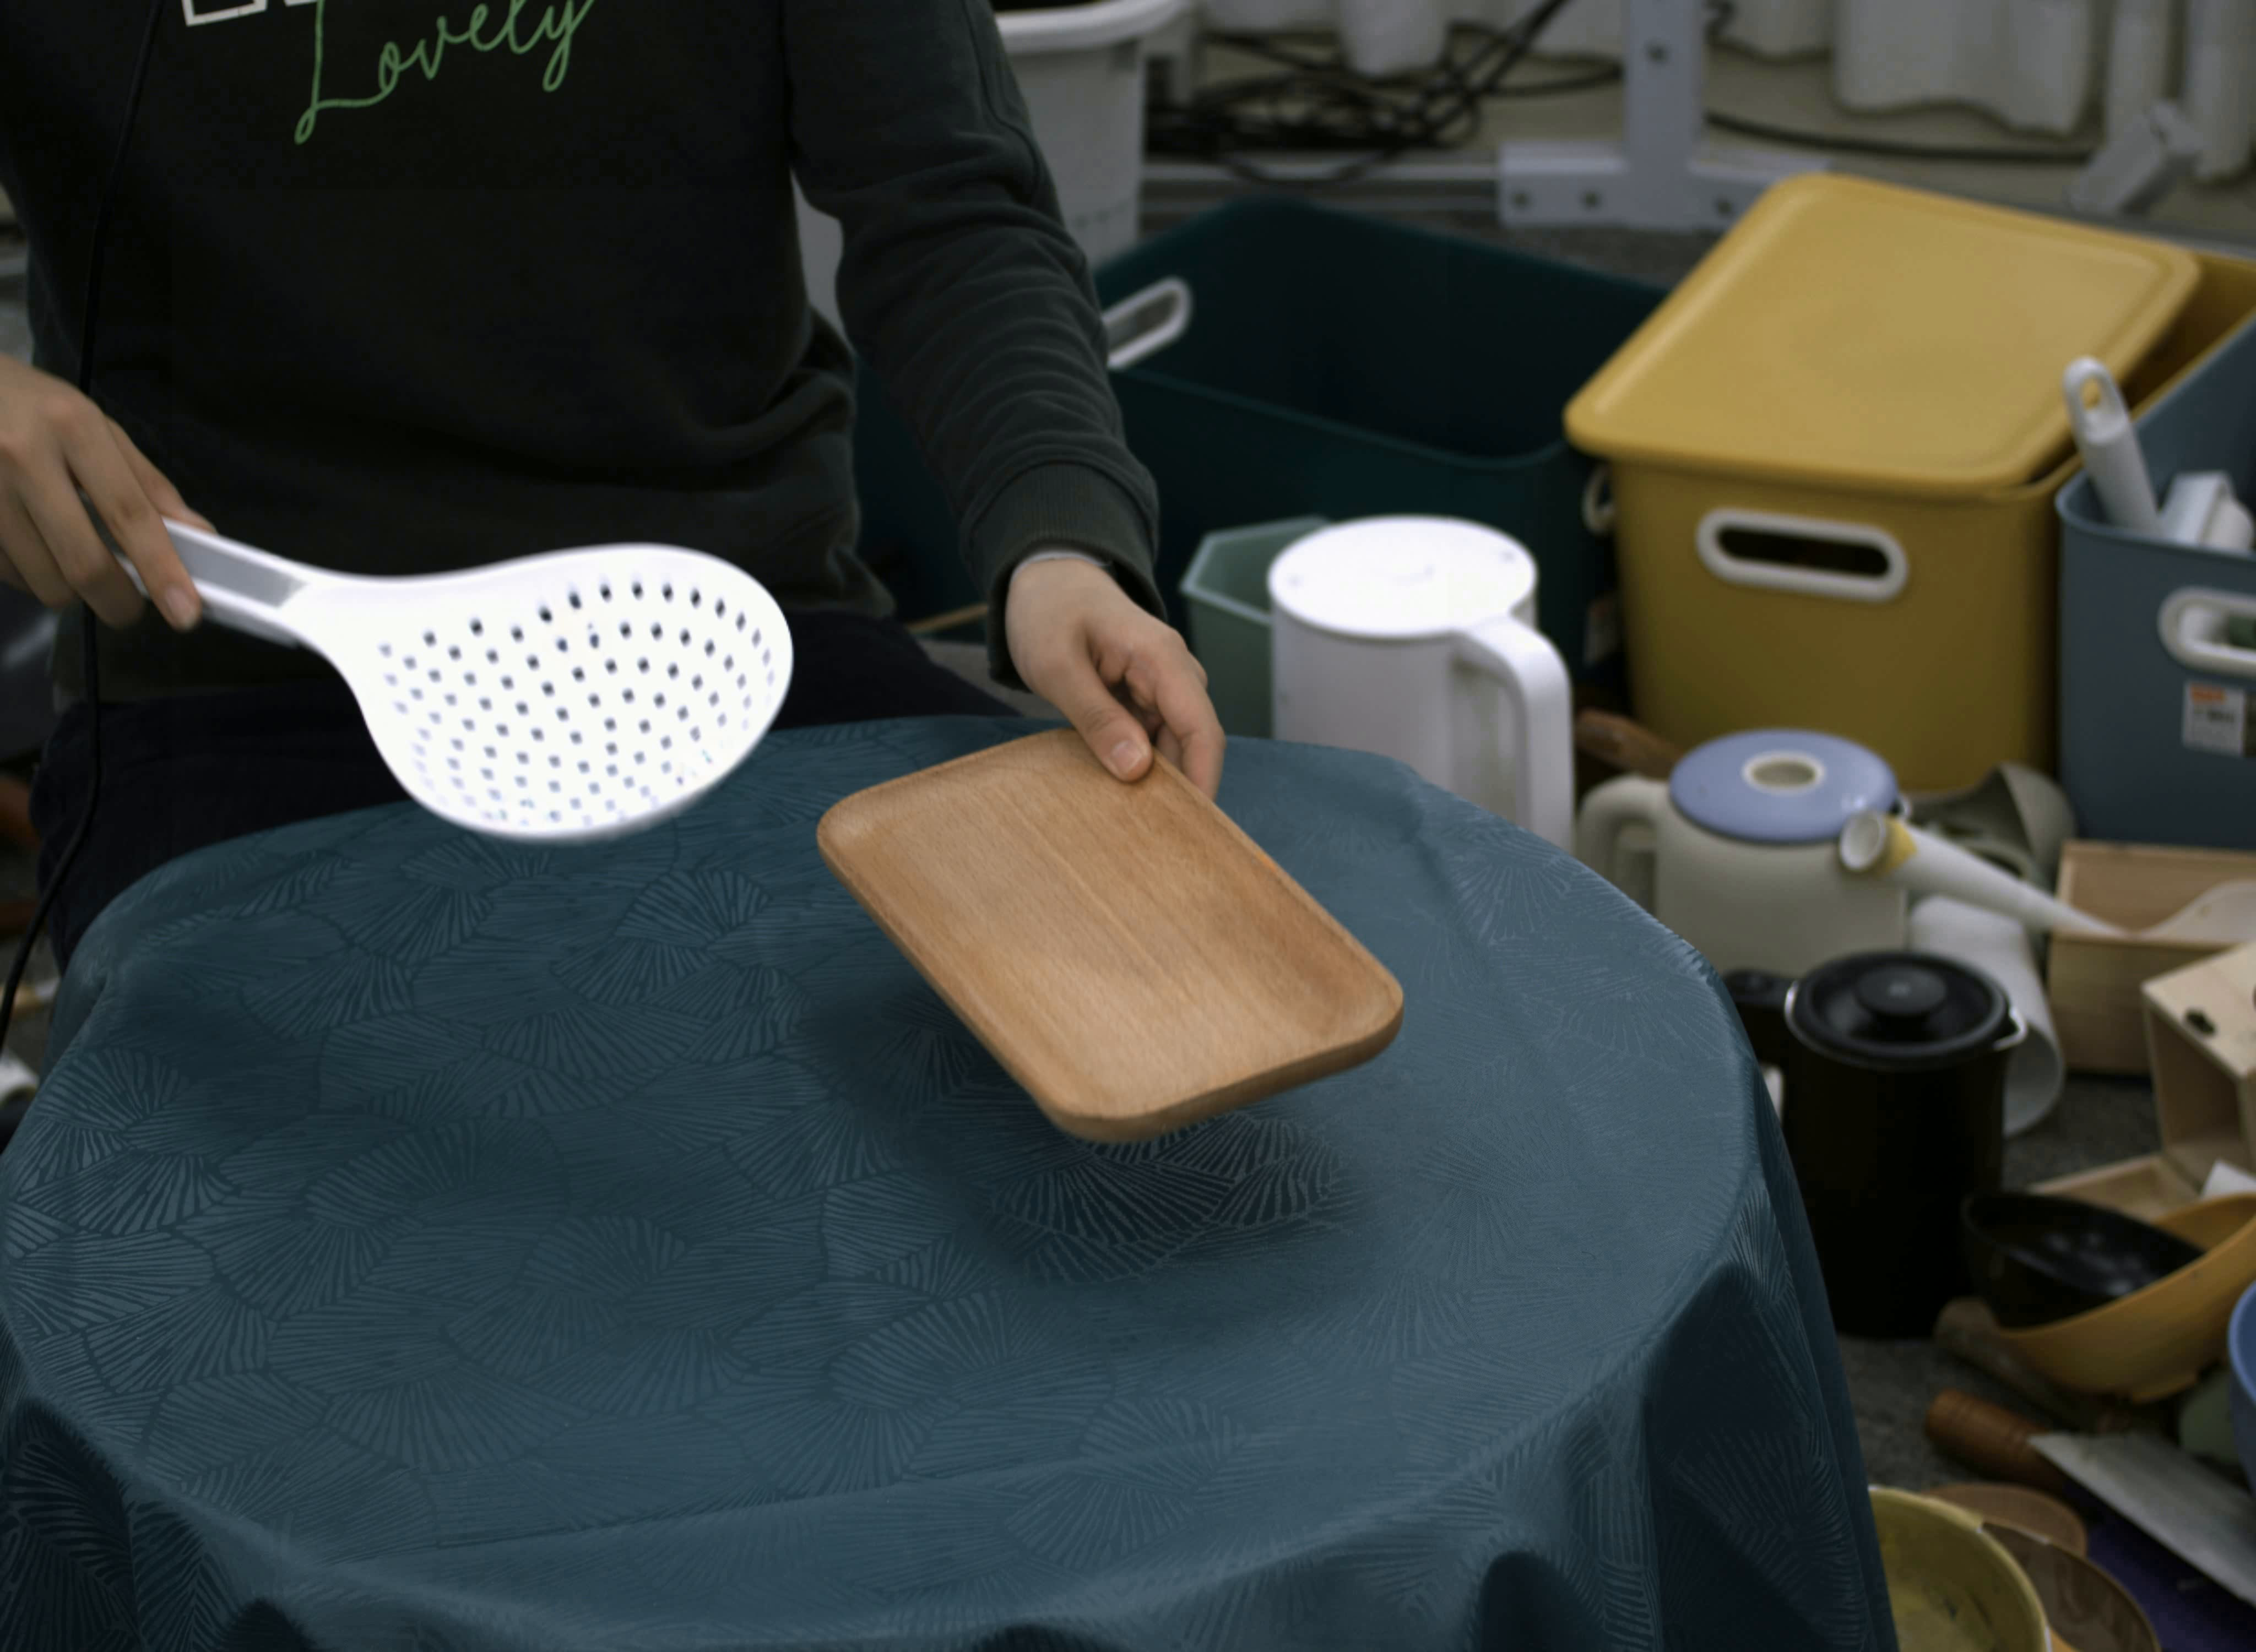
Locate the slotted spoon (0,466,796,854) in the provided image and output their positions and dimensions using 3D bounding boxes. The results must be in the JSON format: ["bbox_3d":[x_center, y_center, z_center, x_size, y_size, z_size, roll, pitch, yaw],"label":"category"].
[{"bbox_3d":[-0.261,-0.065,1.878,0.349,0.045,0.138,21,51,26],"label":"slotted spoon"}]

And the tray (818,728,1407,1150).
[{"bbox_3d":[-0.009,0.035,1.892,0.131,0.022,0.252,-16,29,-18],"label":"tray"}]
